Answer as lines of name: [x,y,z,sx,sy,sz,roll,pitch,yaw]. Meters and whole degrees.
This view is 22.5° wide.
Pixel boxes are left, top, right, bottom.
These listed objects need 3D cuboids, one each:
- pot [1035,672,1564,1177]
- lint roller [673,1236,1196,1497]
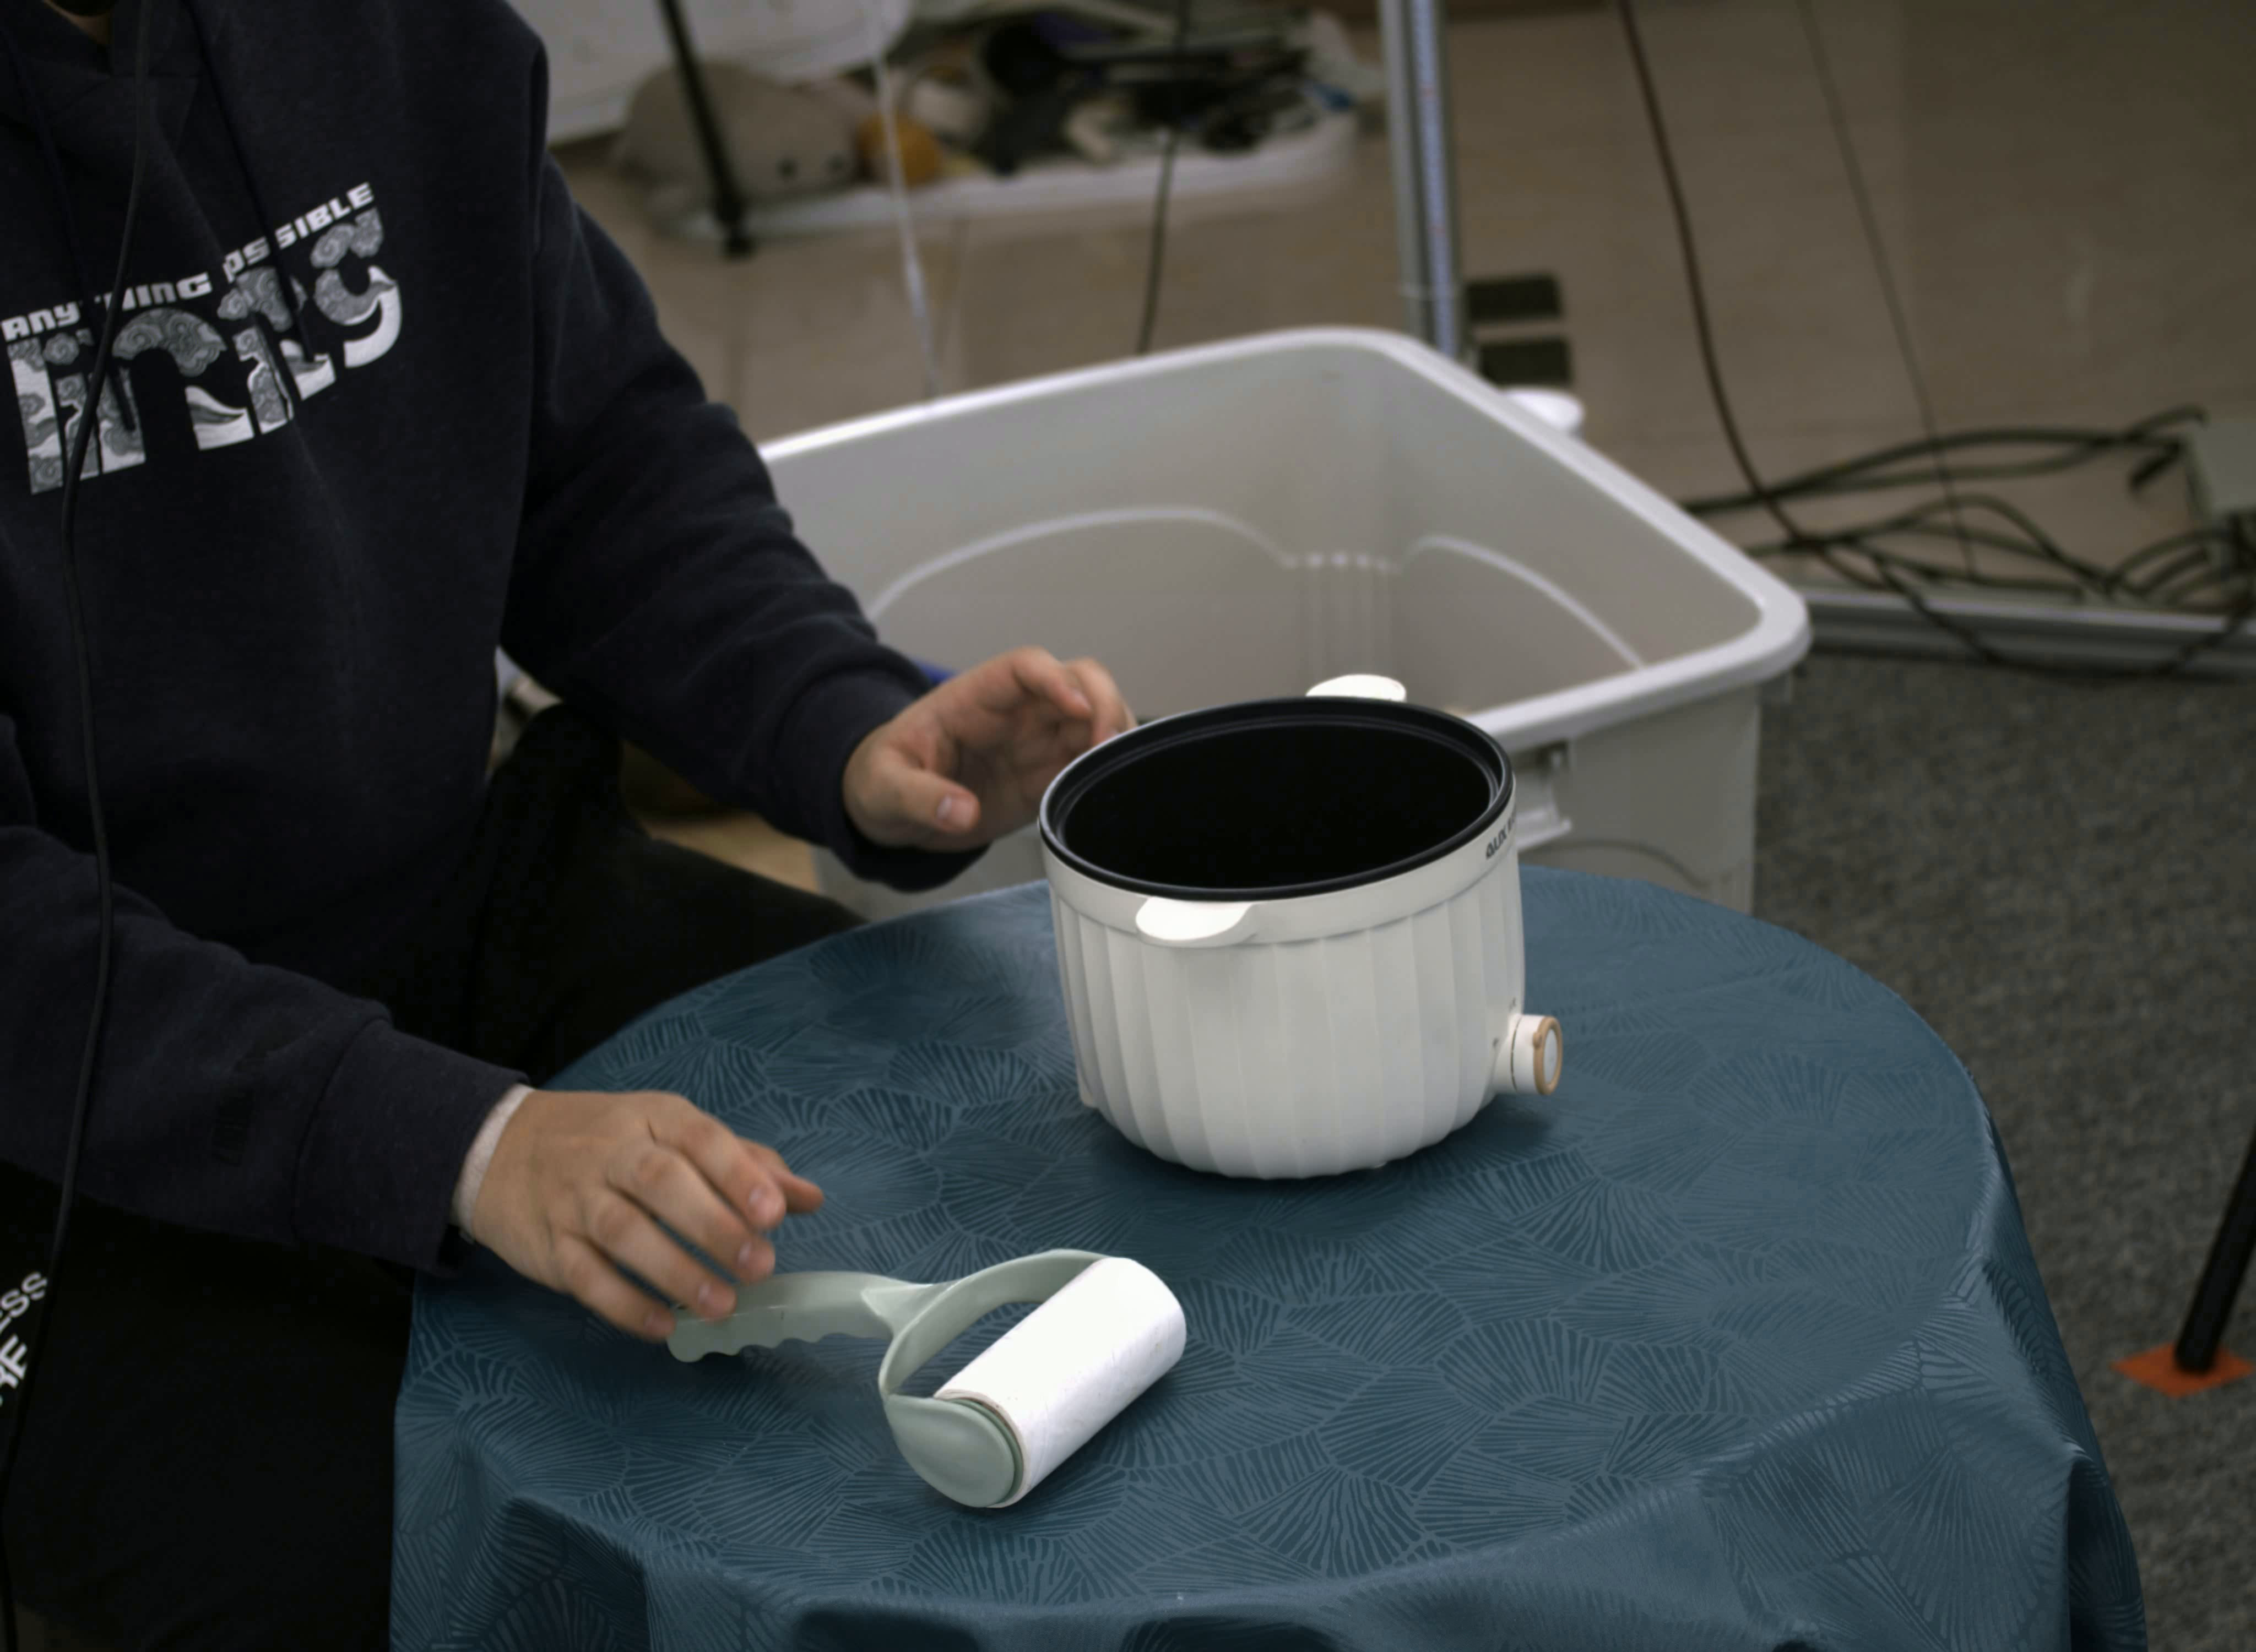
pot: [0.067,0.045,2.167,0.190,0.145,0.237,0,27,21]
lint roller: [-0.082,0.182,2.024,0.196,0.049,0.115,8,32,33]
